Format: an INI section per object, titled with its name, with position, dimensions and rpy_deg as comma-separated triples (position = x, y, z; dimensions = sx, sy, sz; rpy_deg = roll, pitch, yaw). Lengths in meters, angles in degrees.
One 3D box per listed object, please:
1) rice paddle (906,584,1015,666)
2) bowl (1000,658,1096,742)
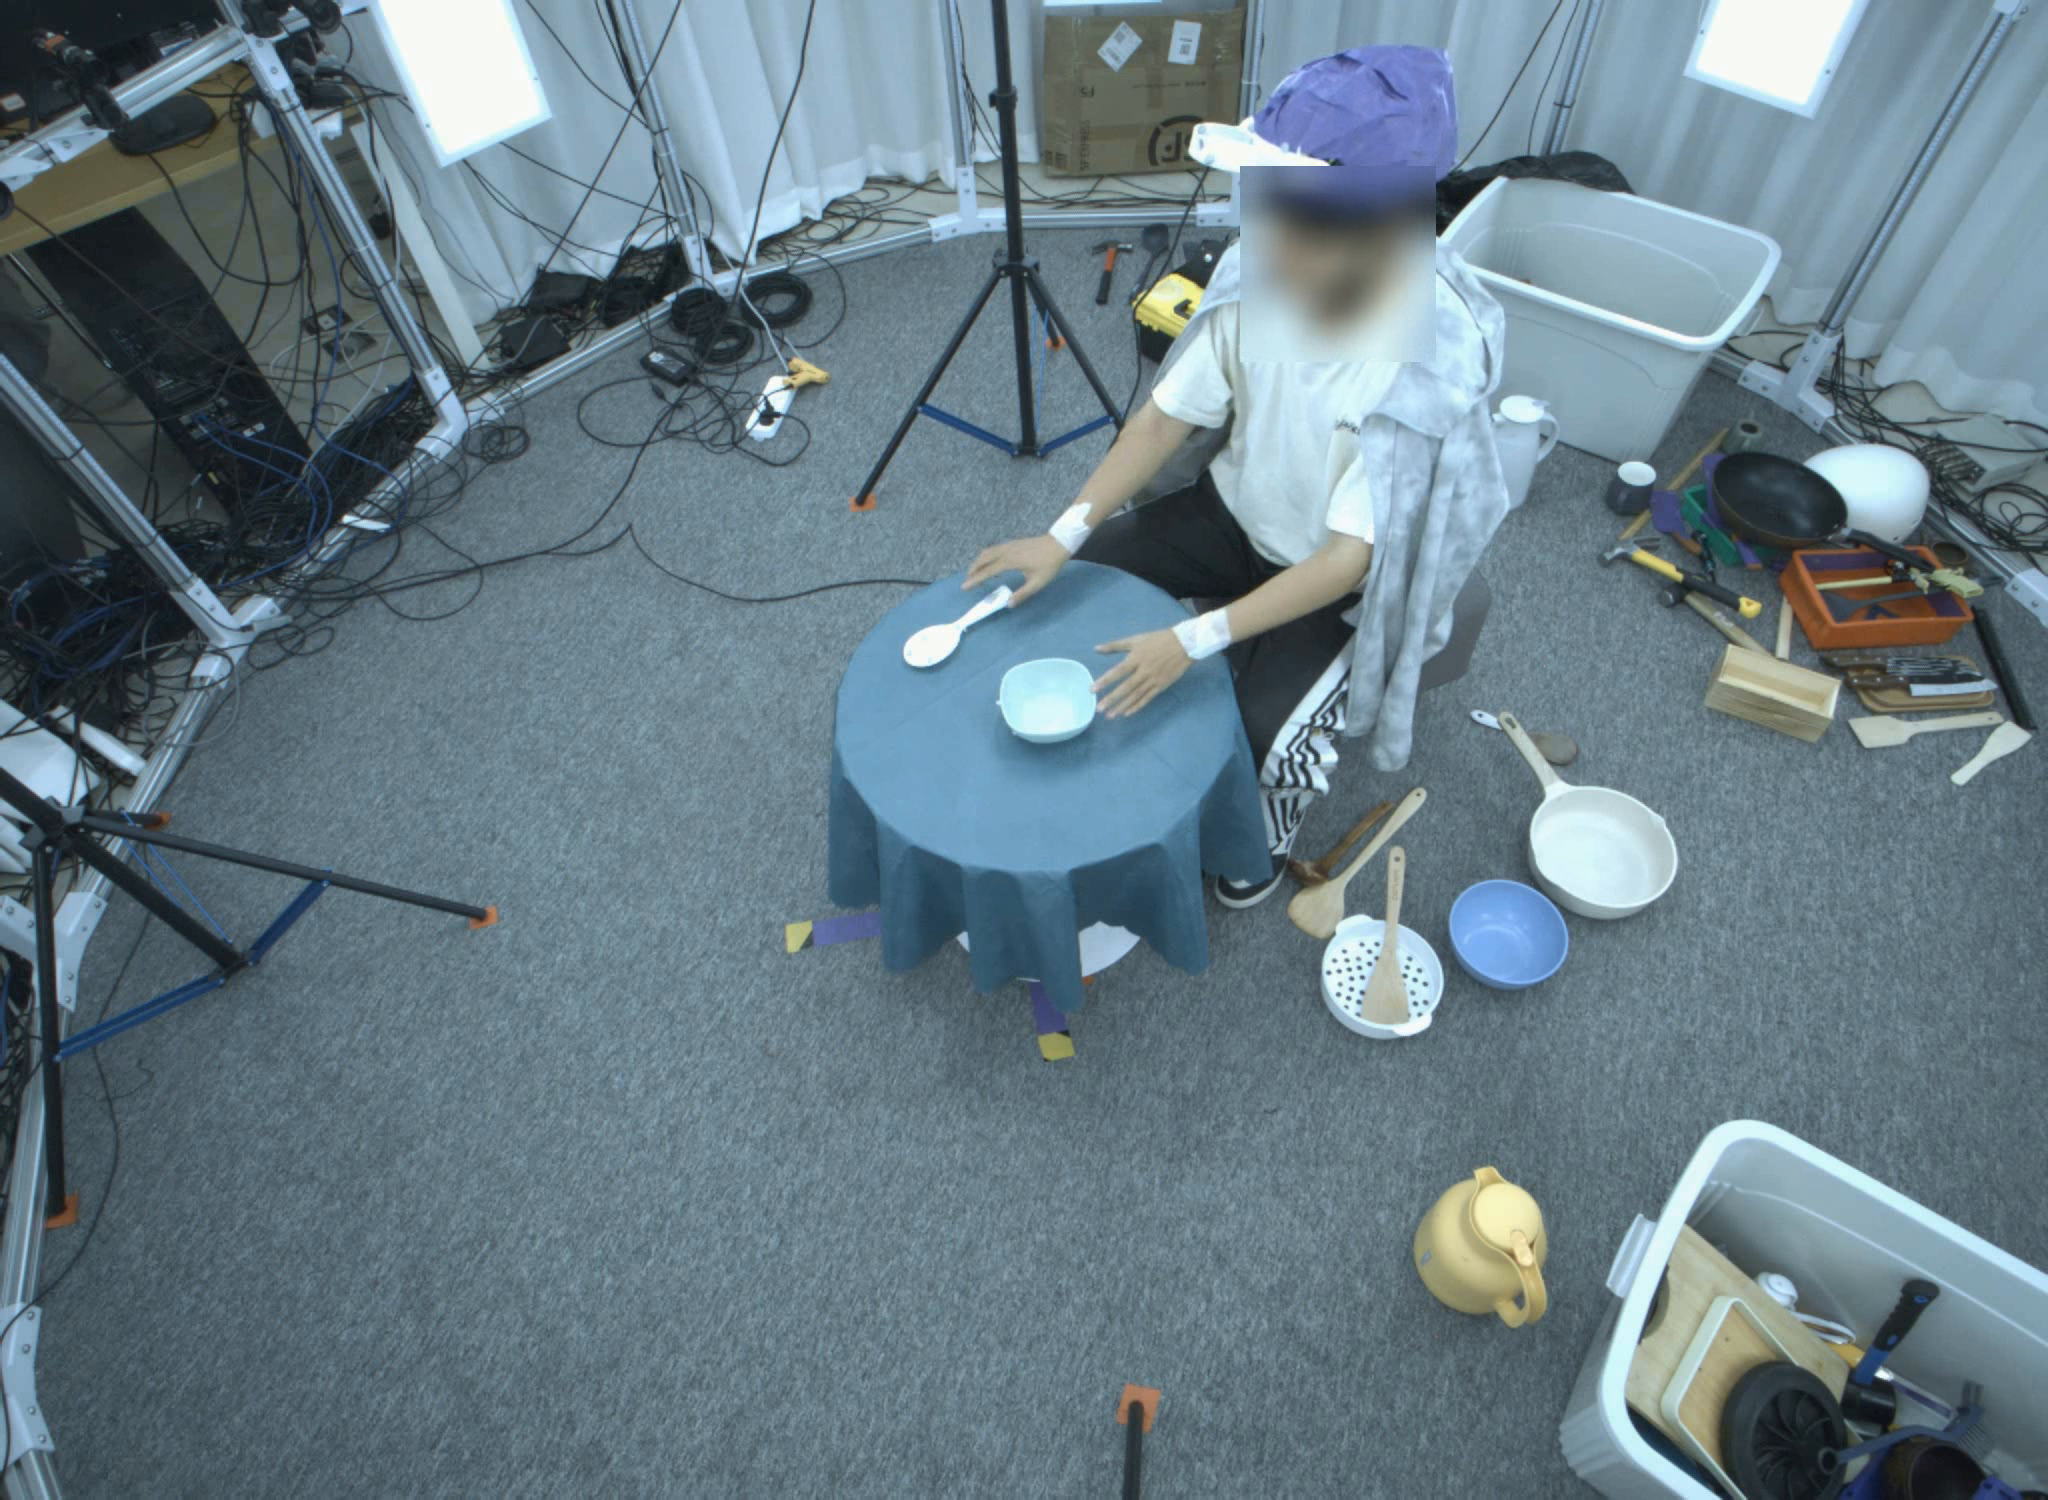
[rice paddle]
position = -0.100, -0.194, 1.911
dimensions = 0.207, 0.030, 0.067
rpy_deg = -38, 60, -22
[bowl]
position = 0.037, -0.063, 1.797
dimensions = 0.151, 0.059, 0.150
rpy_deg = -2, 54, 4
